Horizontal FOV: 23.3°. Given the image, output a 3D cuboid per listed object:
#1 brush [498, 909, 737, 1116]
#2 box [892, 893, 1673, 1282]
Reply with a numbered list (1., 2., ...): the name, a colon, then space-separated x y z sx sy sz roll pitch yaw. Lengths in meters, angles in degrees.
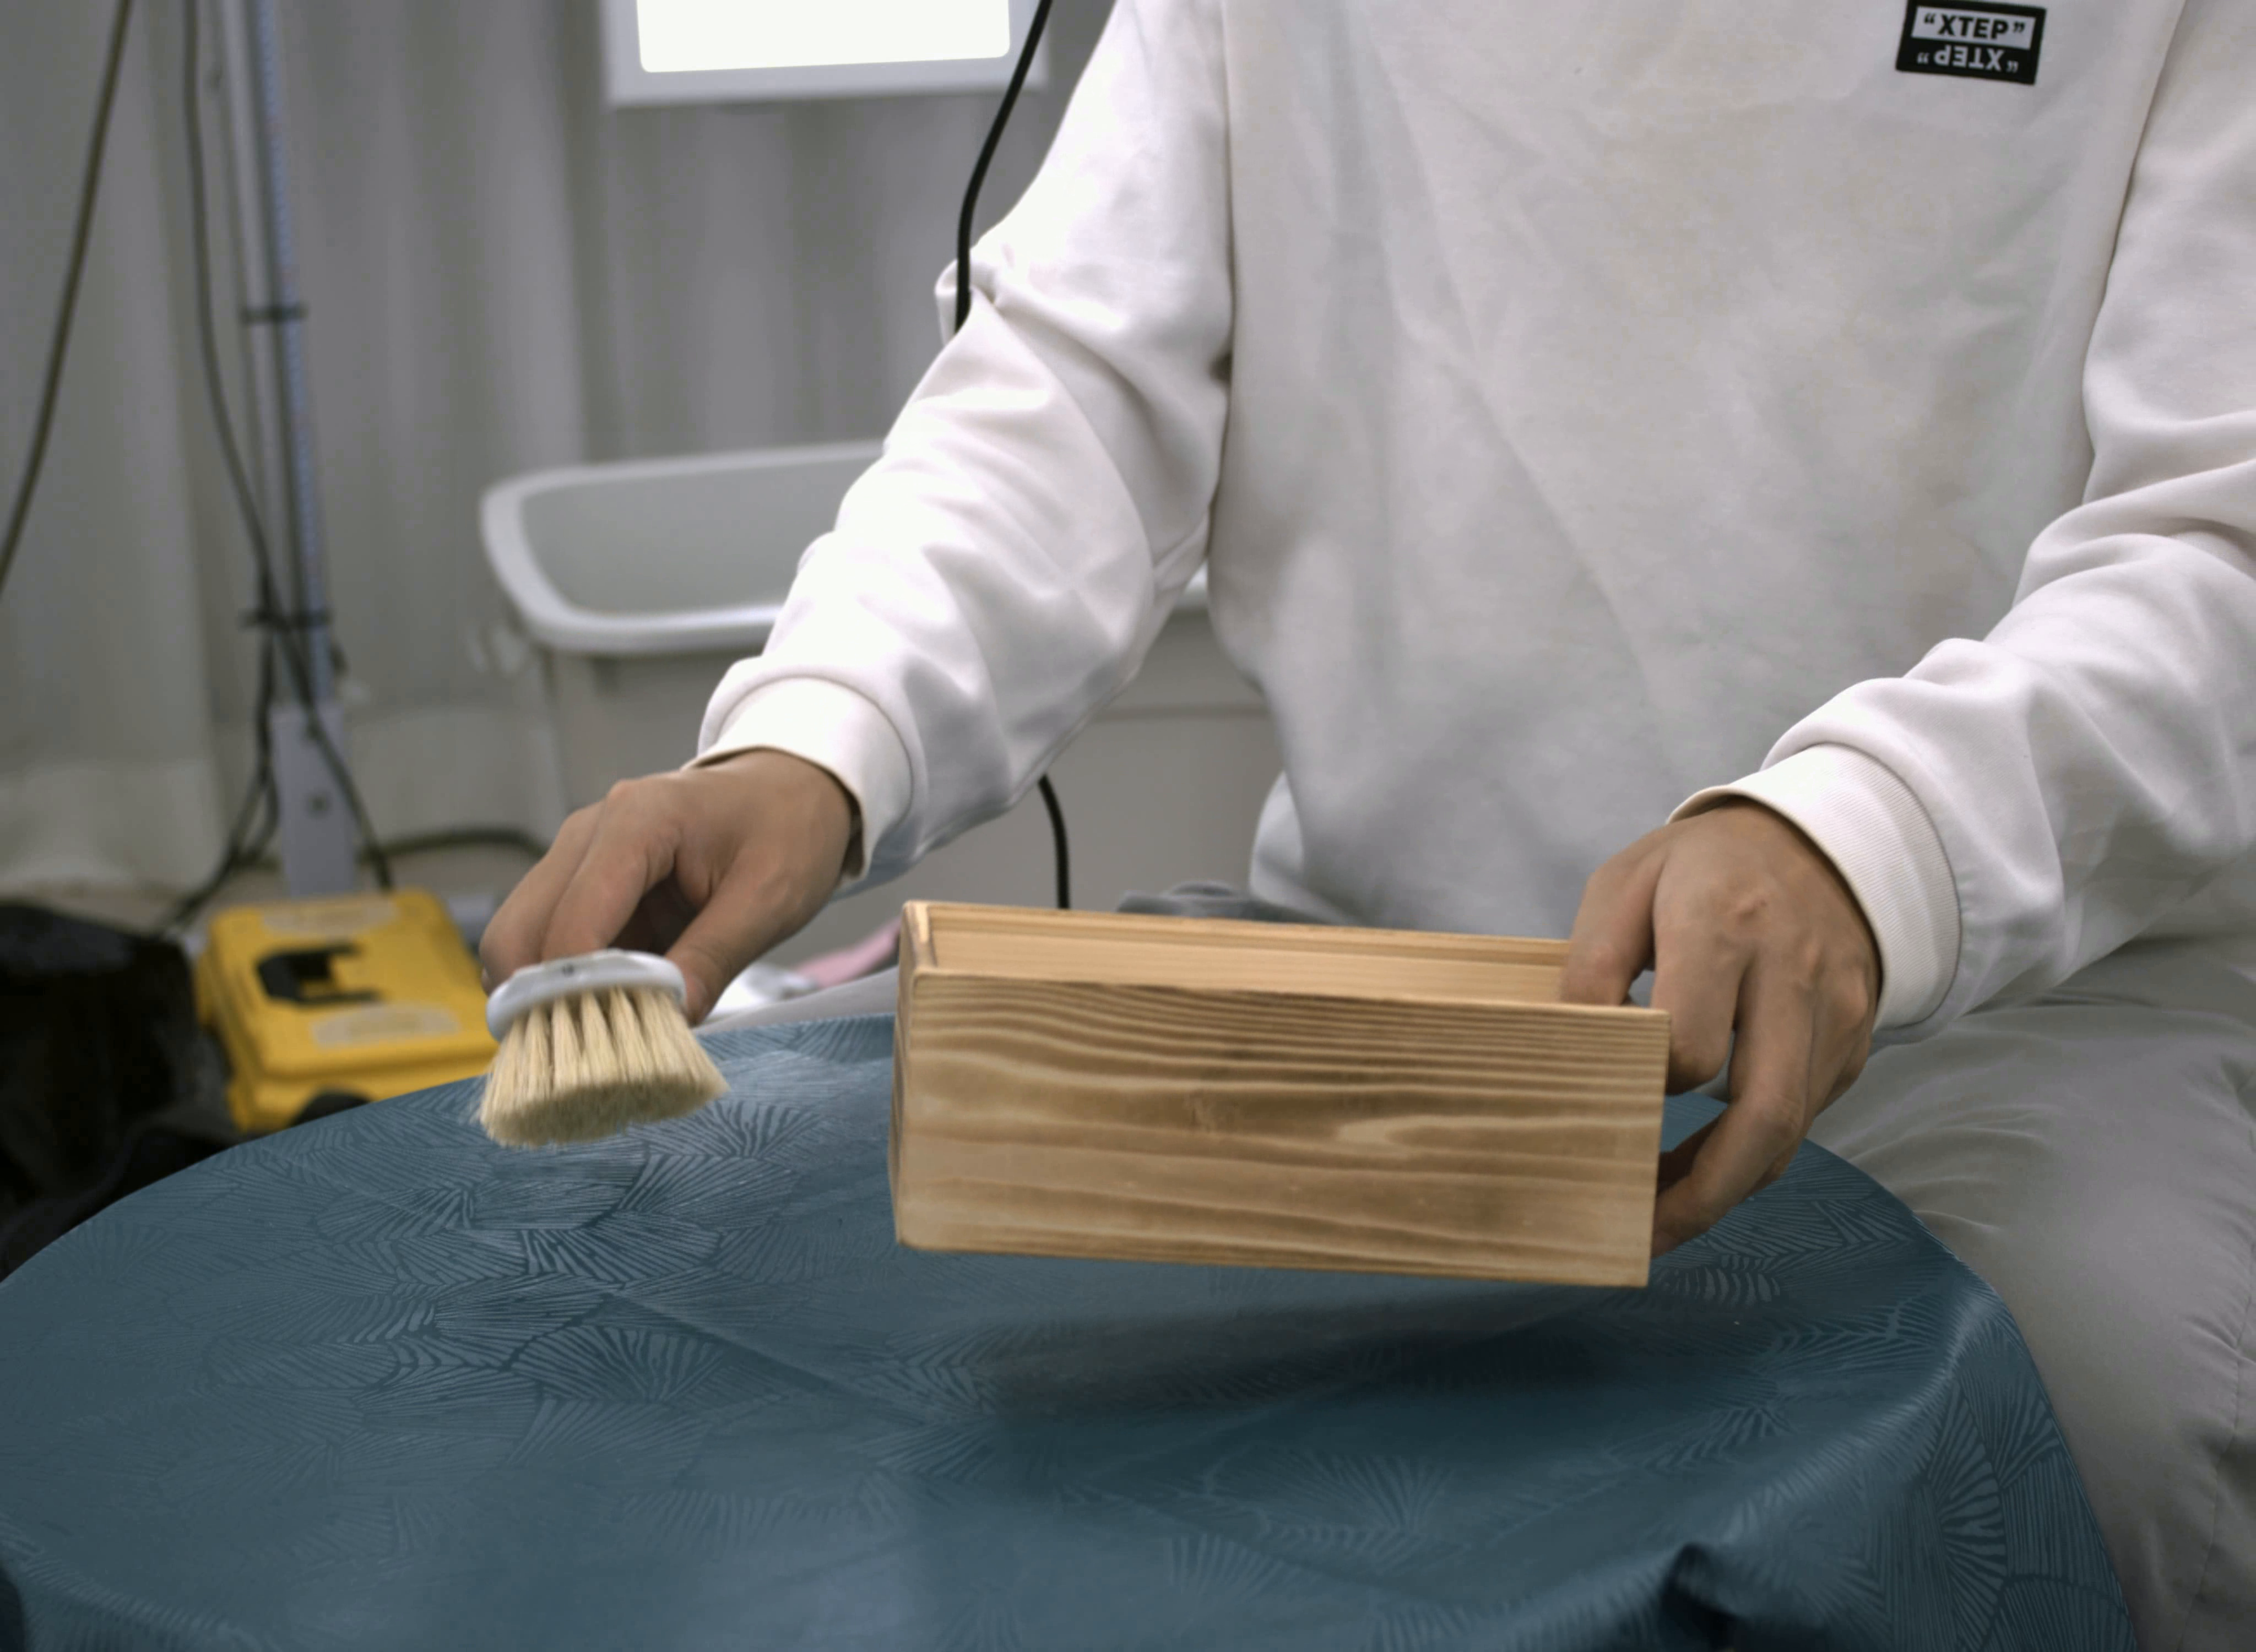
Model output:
1. brush: -0.151 0.065 1.703 0.068 0.056 0.265 -5 -6 -1
2. box: 0.041 0.074 1.561 0.210 0.080 0.108 4 8 -4
